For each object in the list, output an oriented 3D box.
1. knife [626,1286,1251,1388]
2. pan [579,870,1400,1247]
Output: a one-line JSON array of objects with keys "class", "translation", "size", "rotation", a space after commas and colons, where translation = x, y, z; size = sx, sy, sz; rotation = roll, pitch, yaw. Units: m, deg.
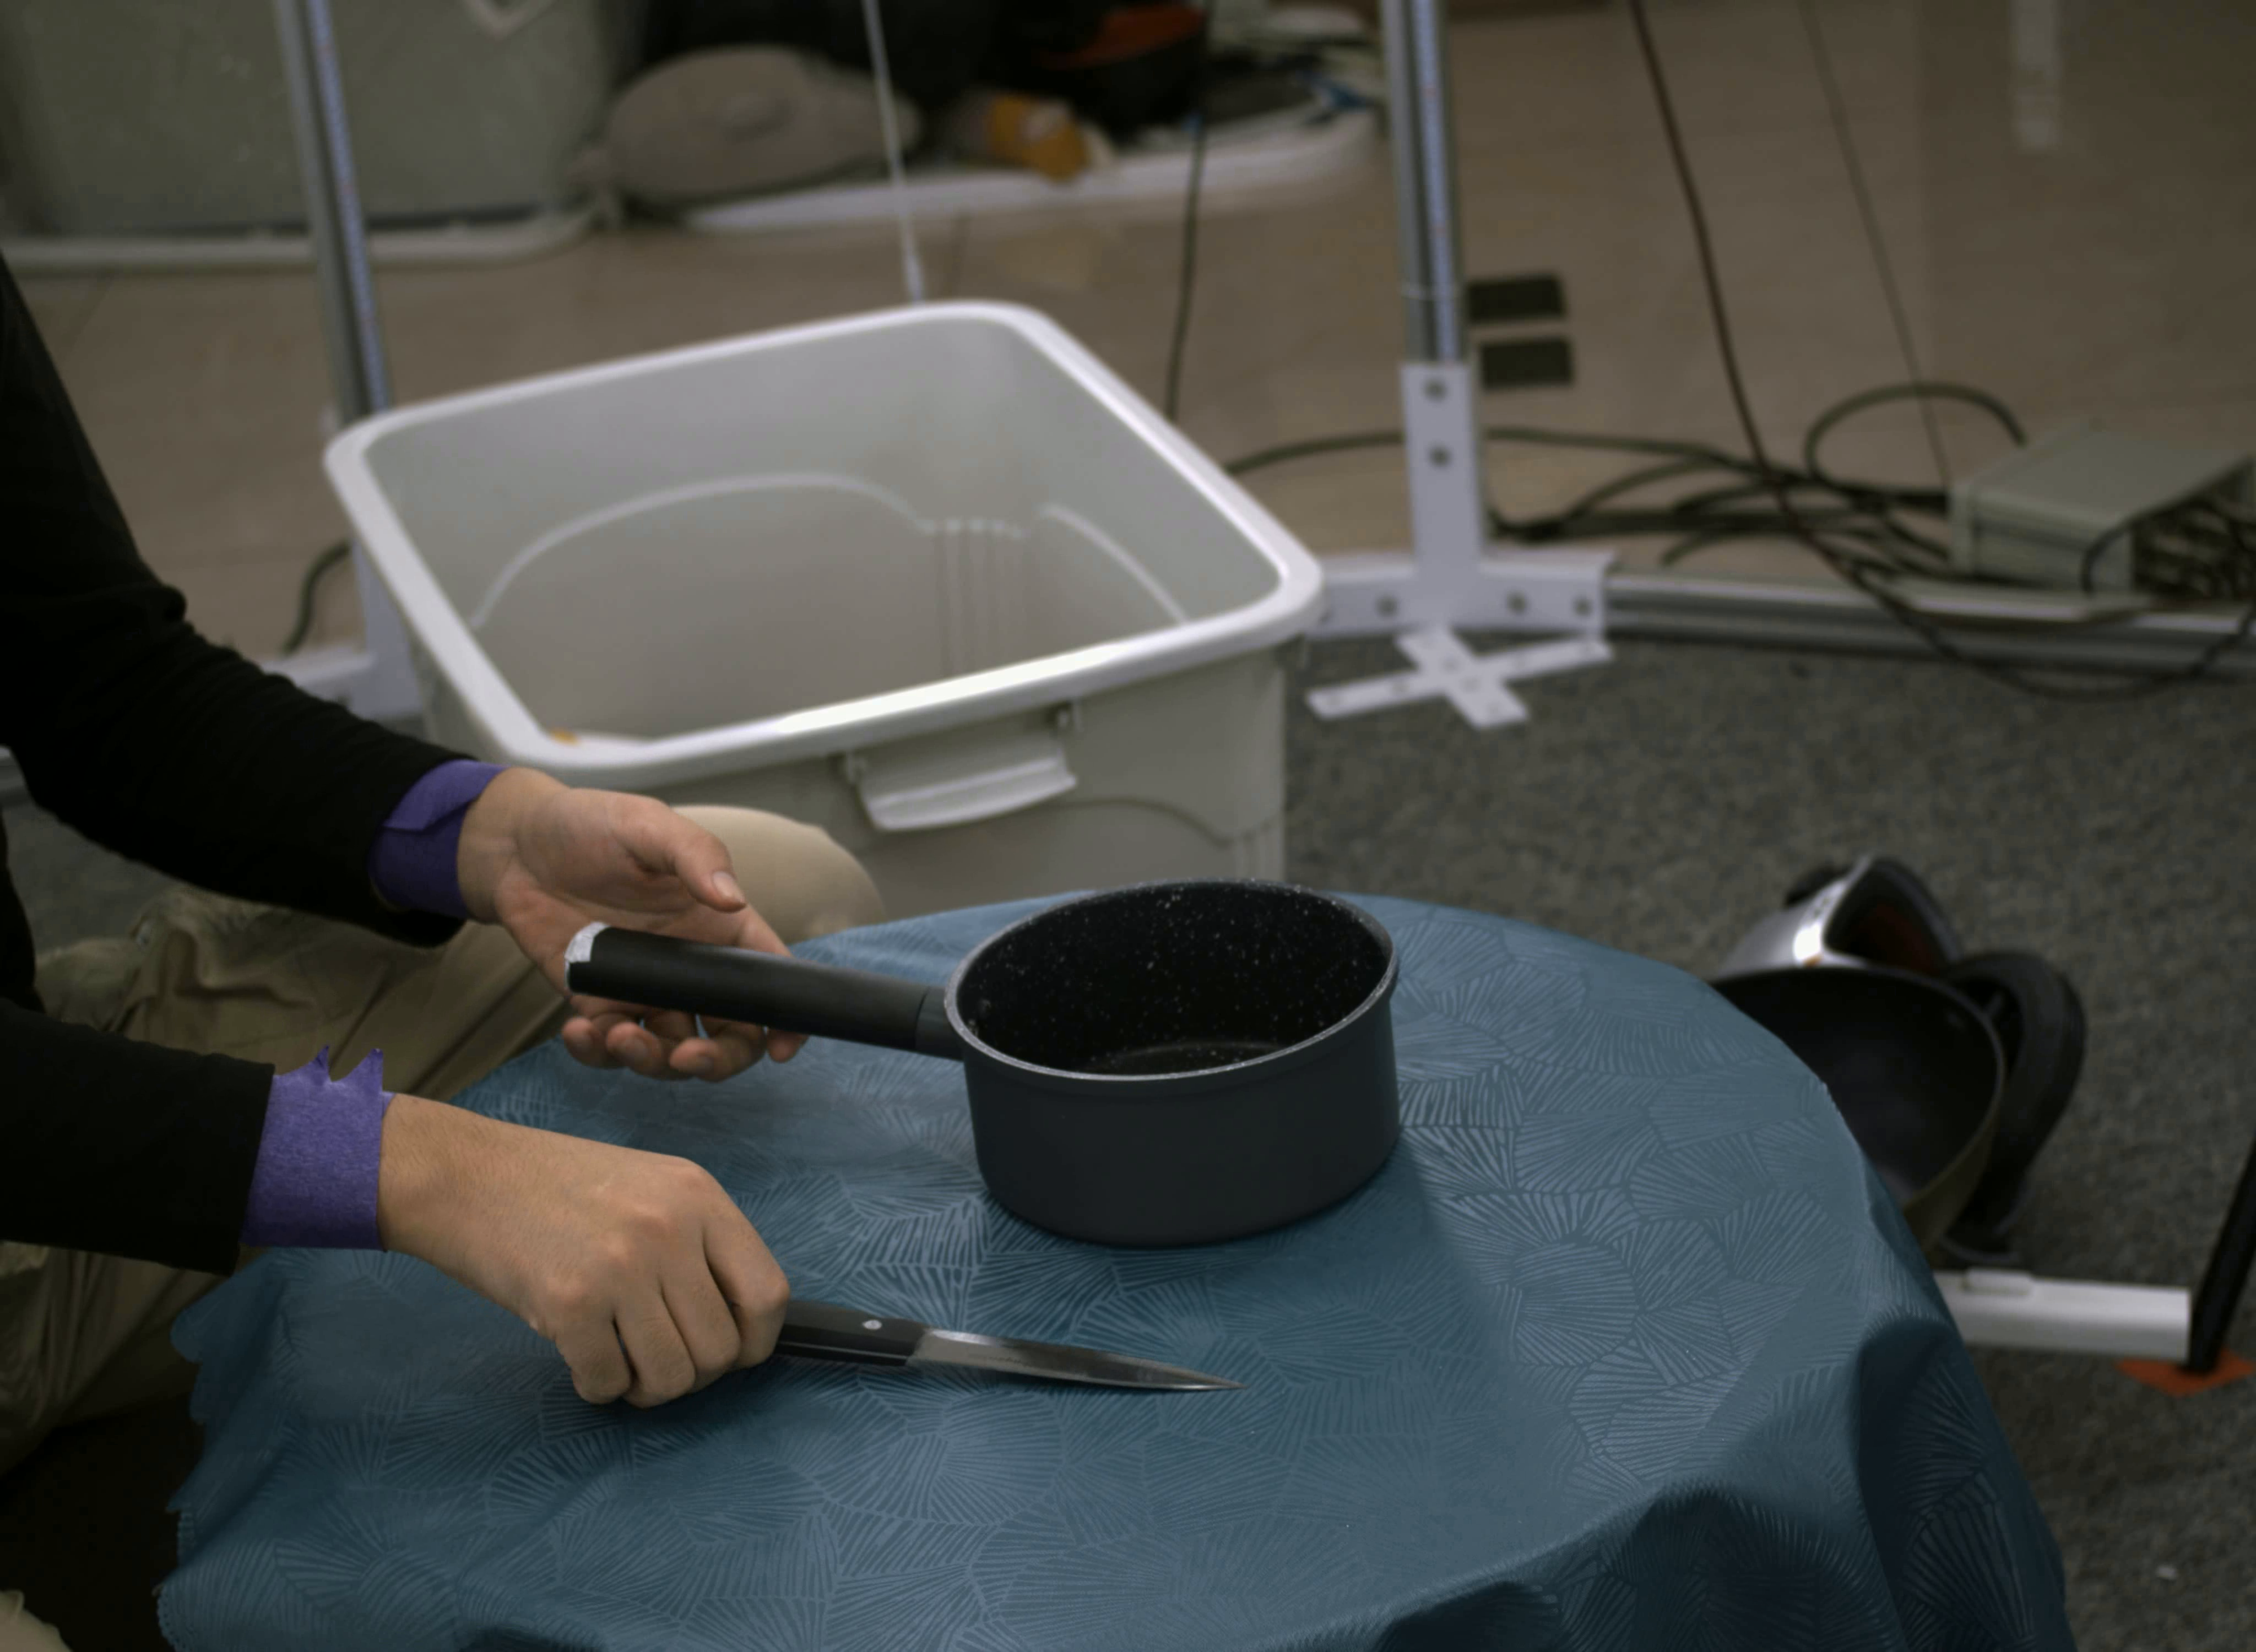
[{"class": "knife", "translation": [-0.071, 0.188, 2.043], "size": [0.237, 0.016, 0.024], "rotation": [6, 26, 15]}, {"class": "pan", "translation": [-0.055, 0.083, 2.182], "size": [0.328, 0.088, 0.169], "rotation": [4, 27, 19]}]
